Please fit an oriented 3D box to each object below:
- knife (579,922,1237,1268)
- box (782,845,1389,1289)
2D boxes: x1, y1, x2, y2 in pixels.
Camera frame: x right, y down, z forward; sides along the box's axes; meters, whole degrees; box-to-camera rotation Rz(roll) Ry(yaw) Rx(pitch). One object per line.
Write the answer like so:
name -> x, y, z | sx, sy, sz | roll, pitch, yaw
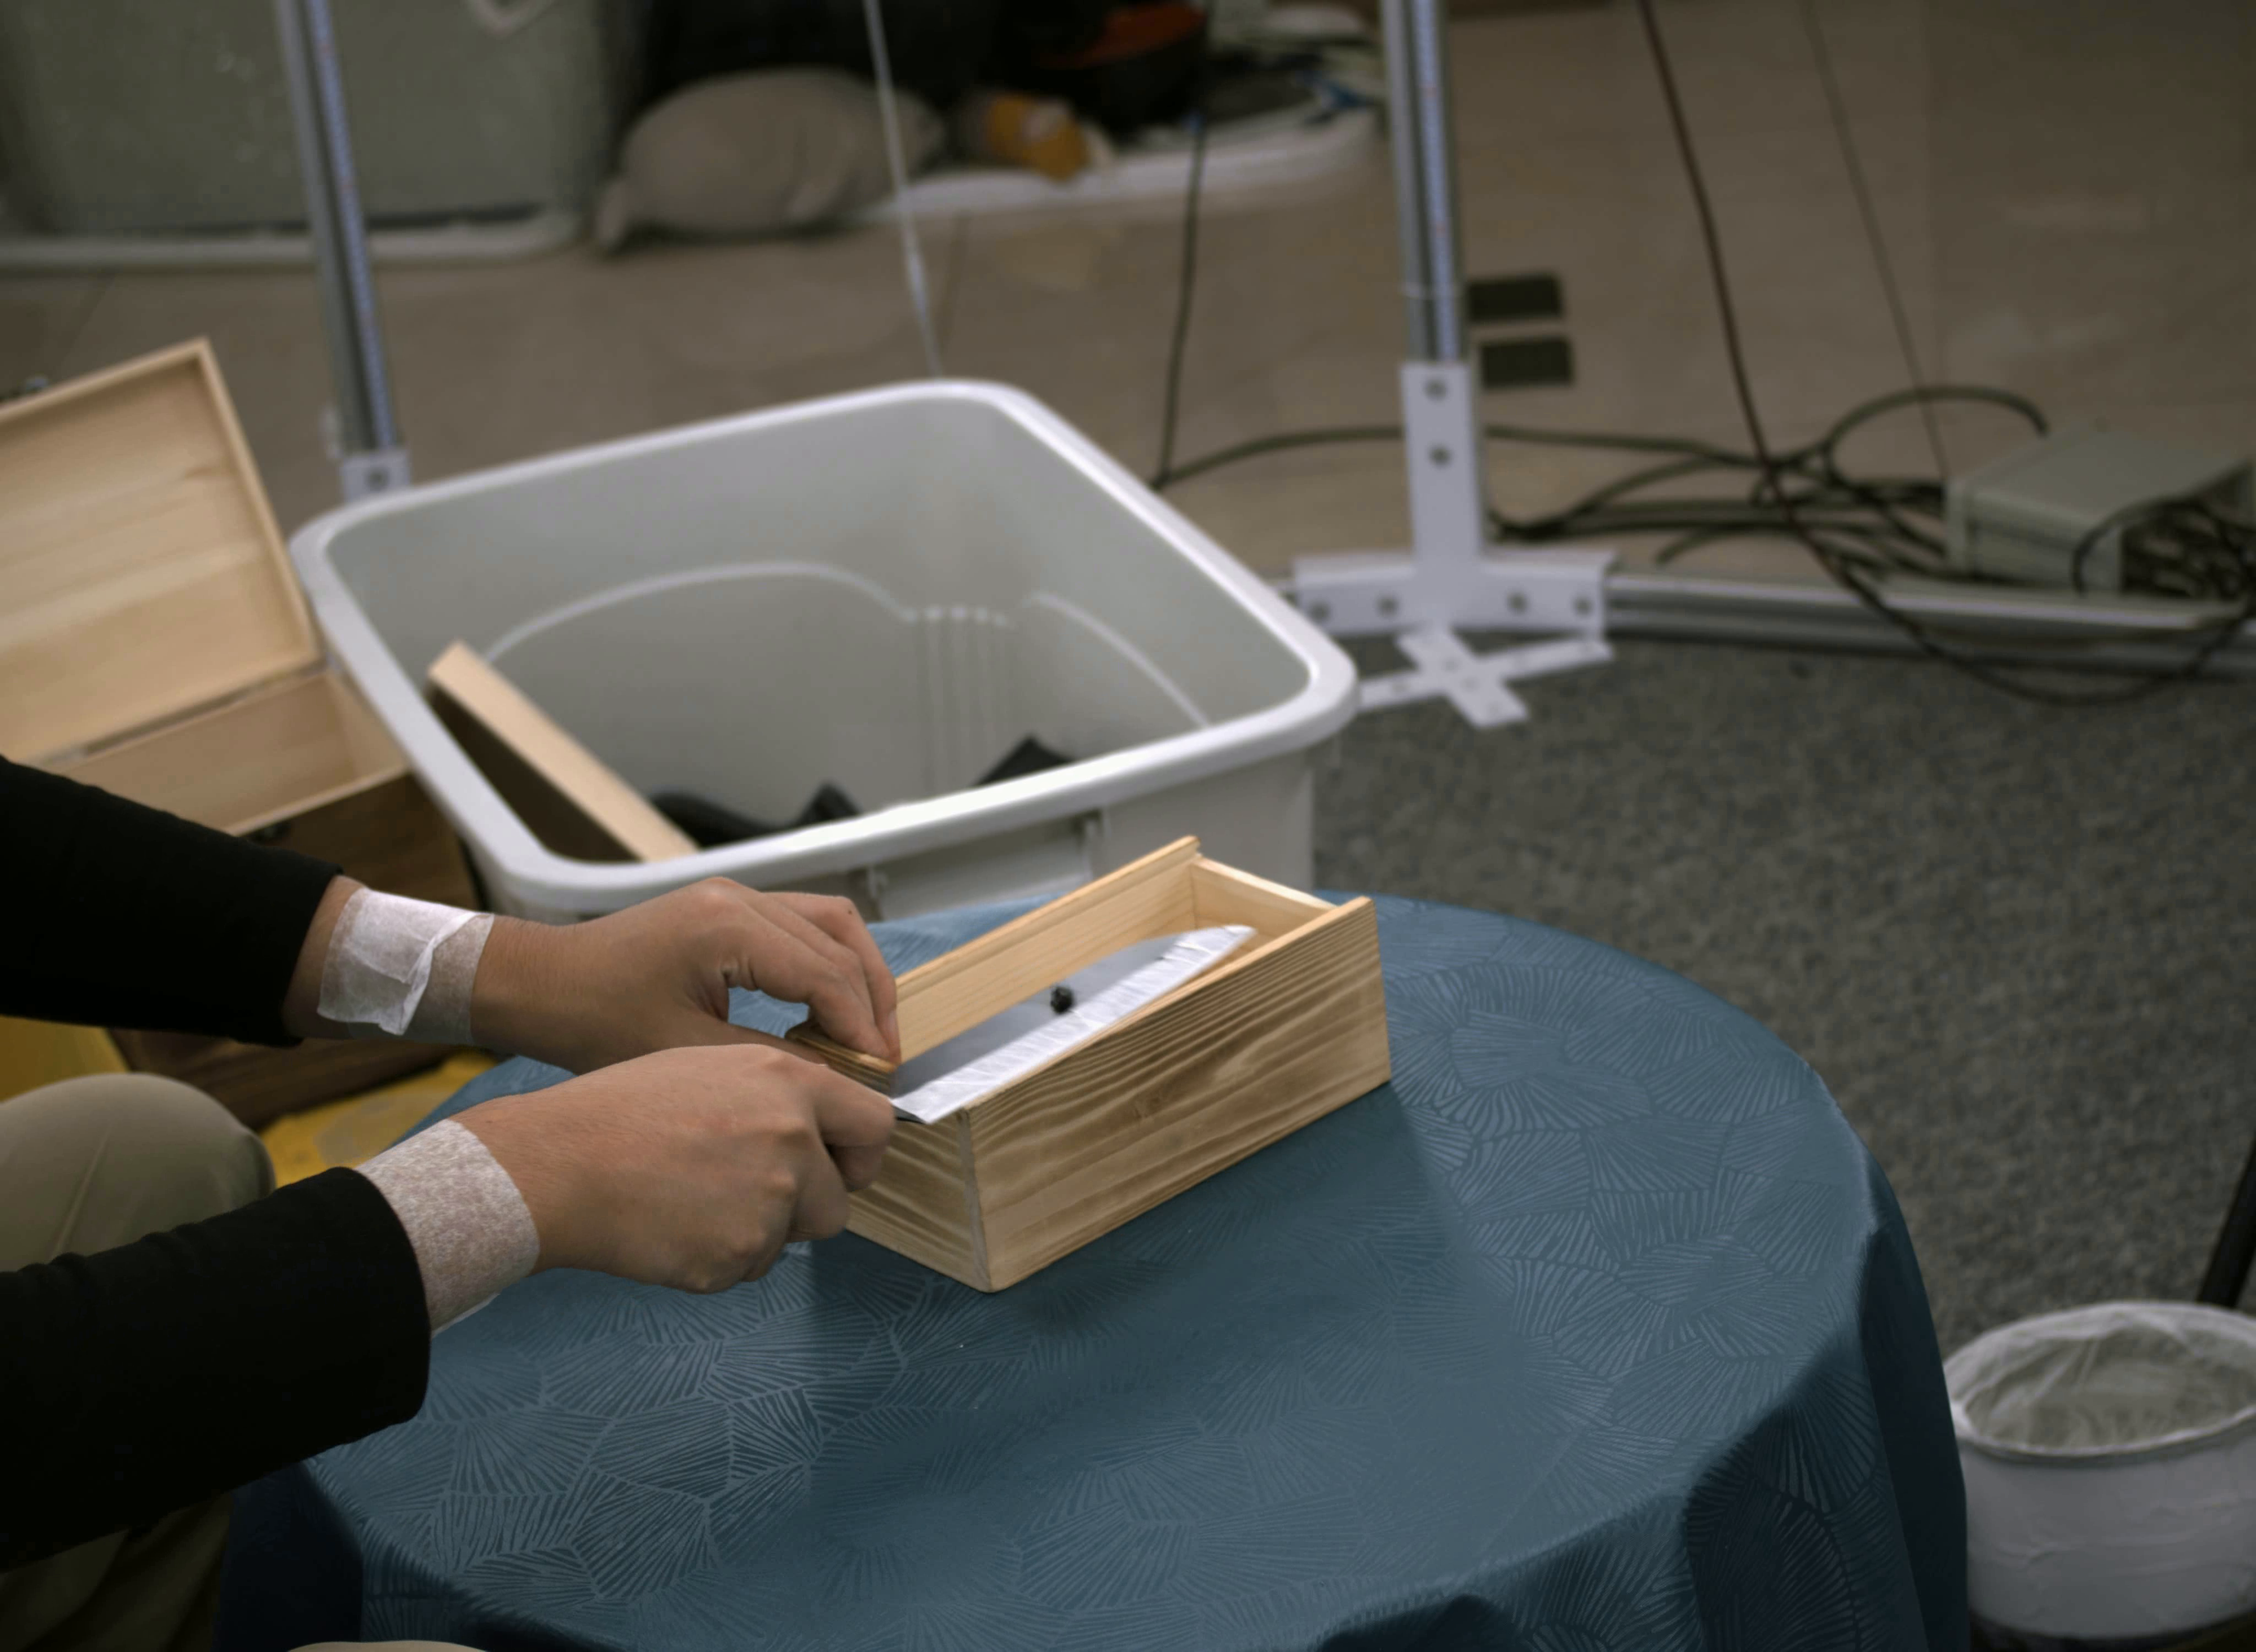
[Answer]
knife -> -0.073, 0.090, 2.005 | 0.287, 0.020, 0.050 | -26, 31, -31
box -> -0.014, 0.089, 2.164 | 0.210, 0.081, 0.106 | -25, 30, -36
